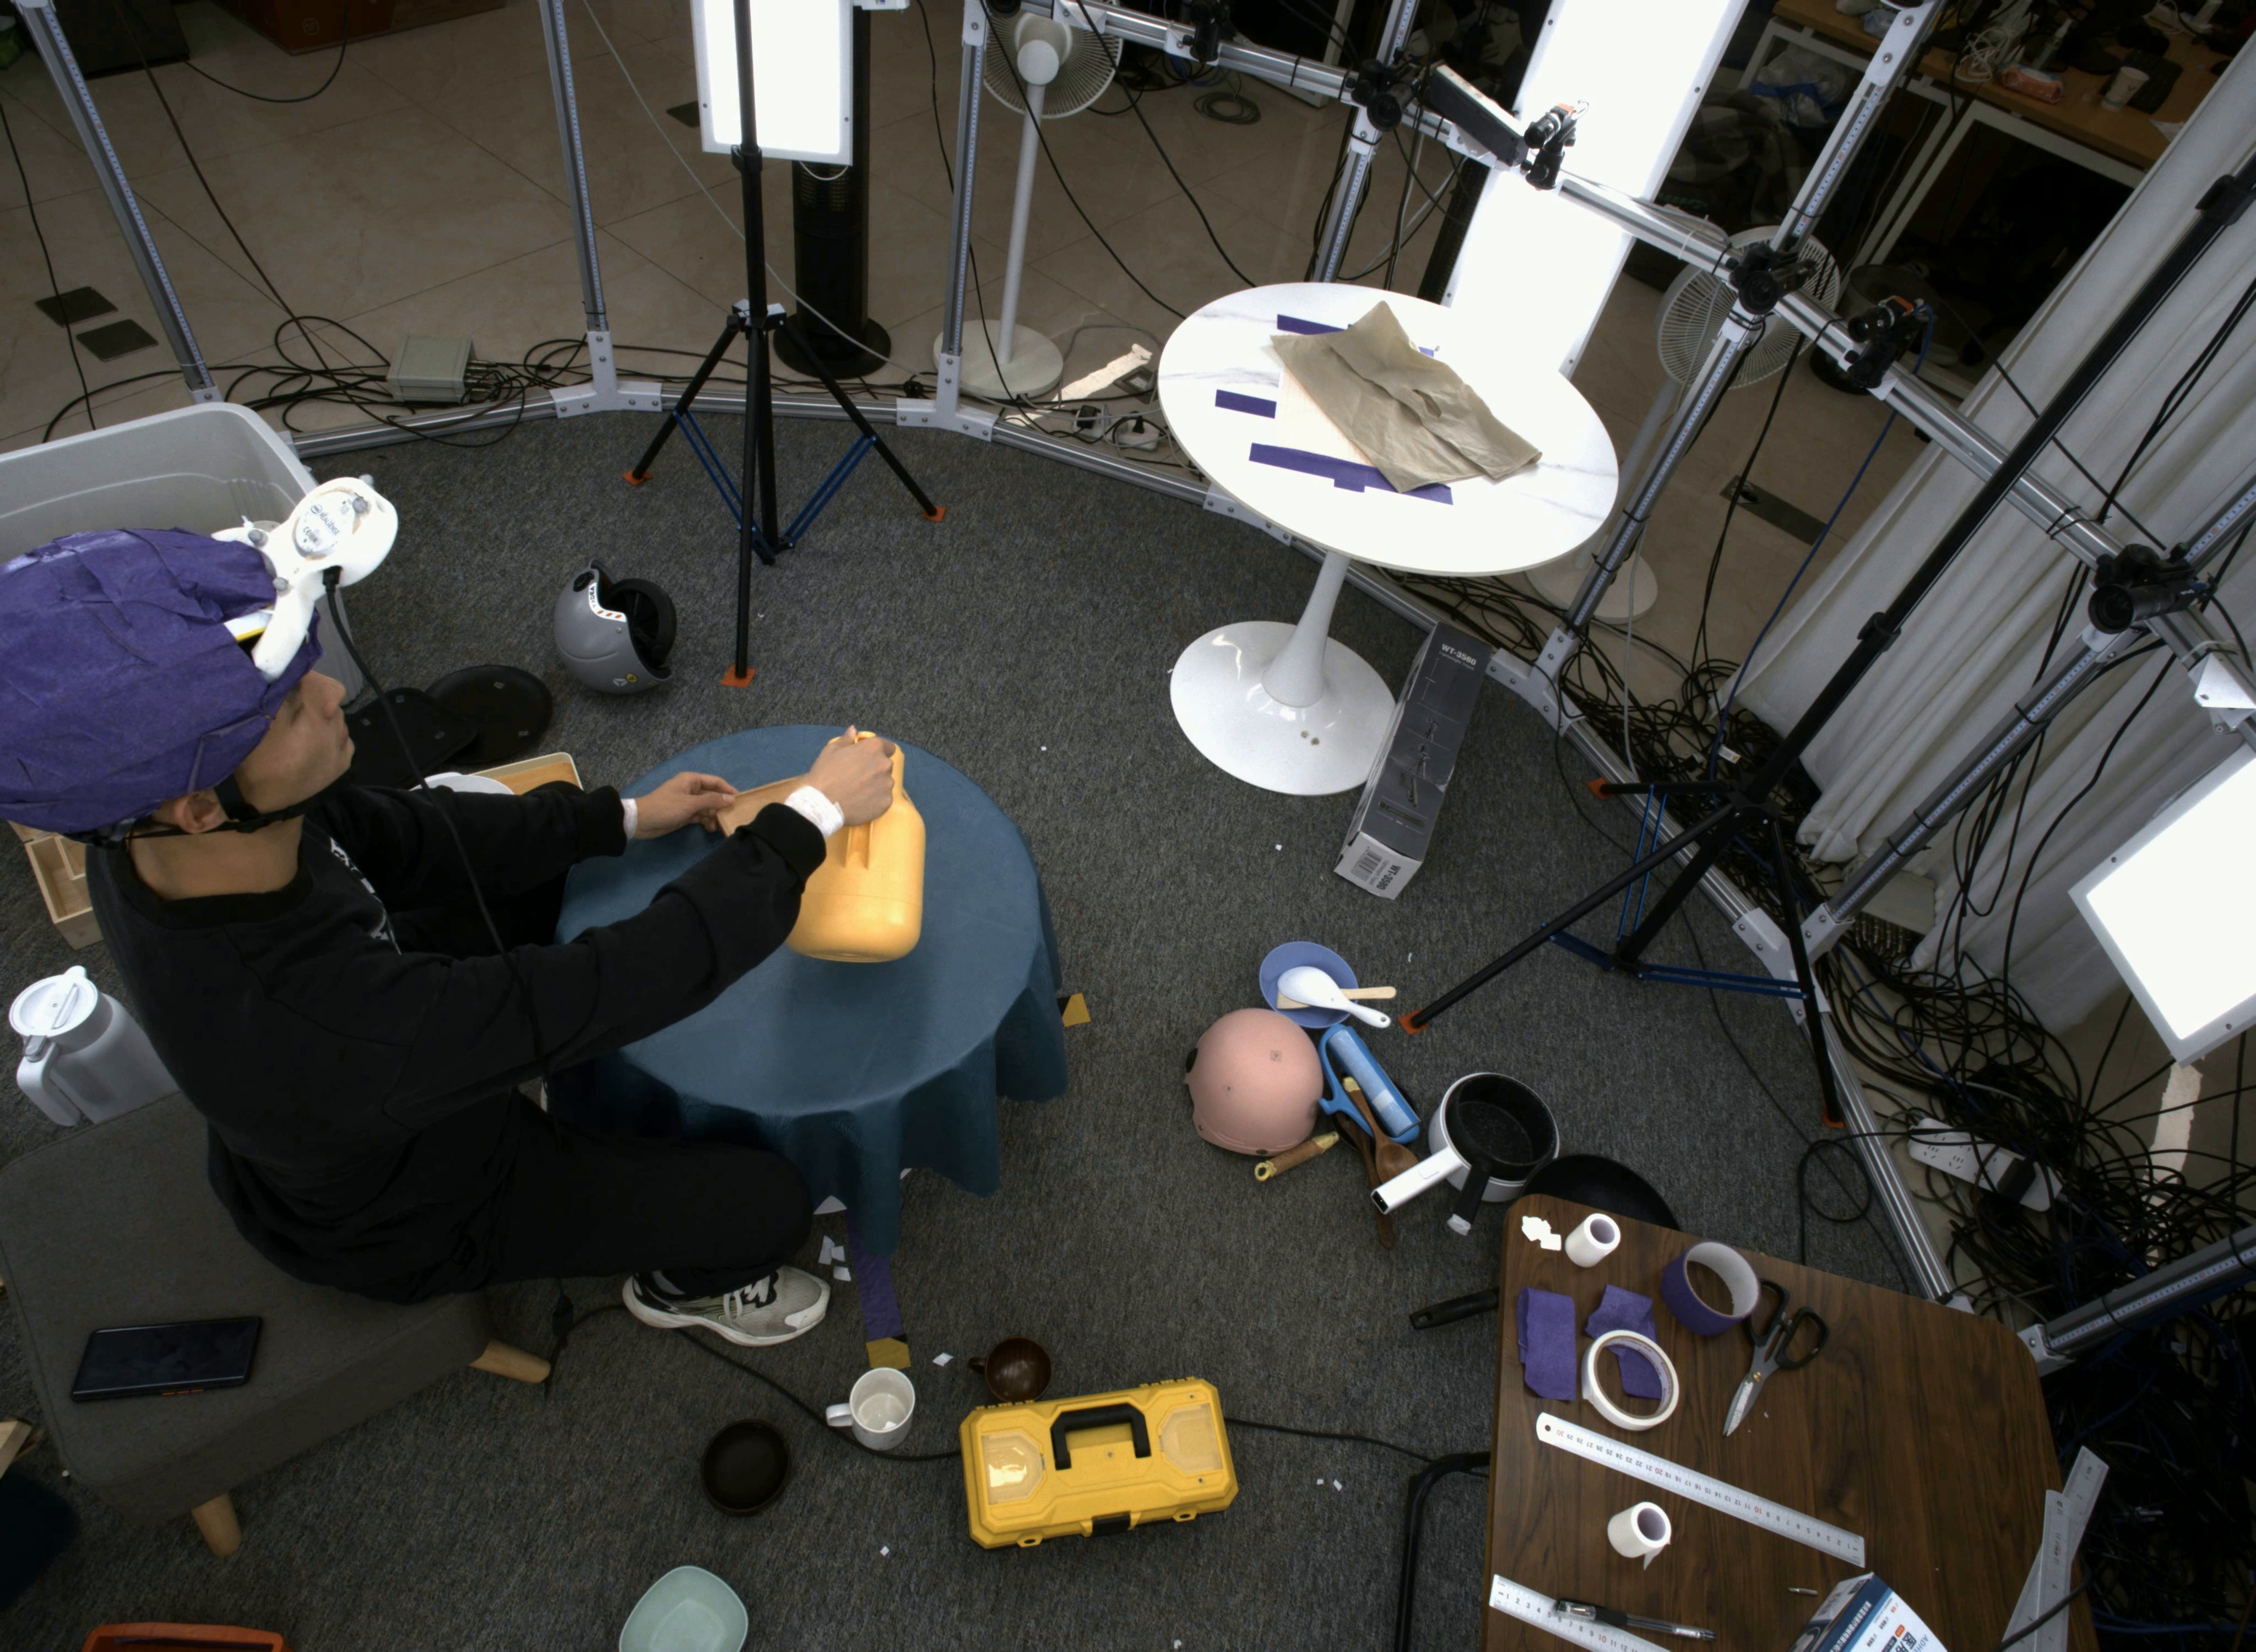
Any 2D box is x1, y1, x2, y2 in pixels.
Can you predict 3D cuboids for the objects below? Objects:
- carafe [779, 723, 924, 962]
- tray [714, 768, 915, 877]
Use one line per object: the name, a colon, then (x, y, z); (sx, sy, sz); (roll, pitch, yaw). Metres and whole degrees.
carafe: (-0.317, 0.014, 1.501); (0.163, 0.202, 0.260); (2, 77, -12)
tray: (-0.409, -0.016, 1.703); (0.252, 0.023, 0.128); (-20, 65, -33)
